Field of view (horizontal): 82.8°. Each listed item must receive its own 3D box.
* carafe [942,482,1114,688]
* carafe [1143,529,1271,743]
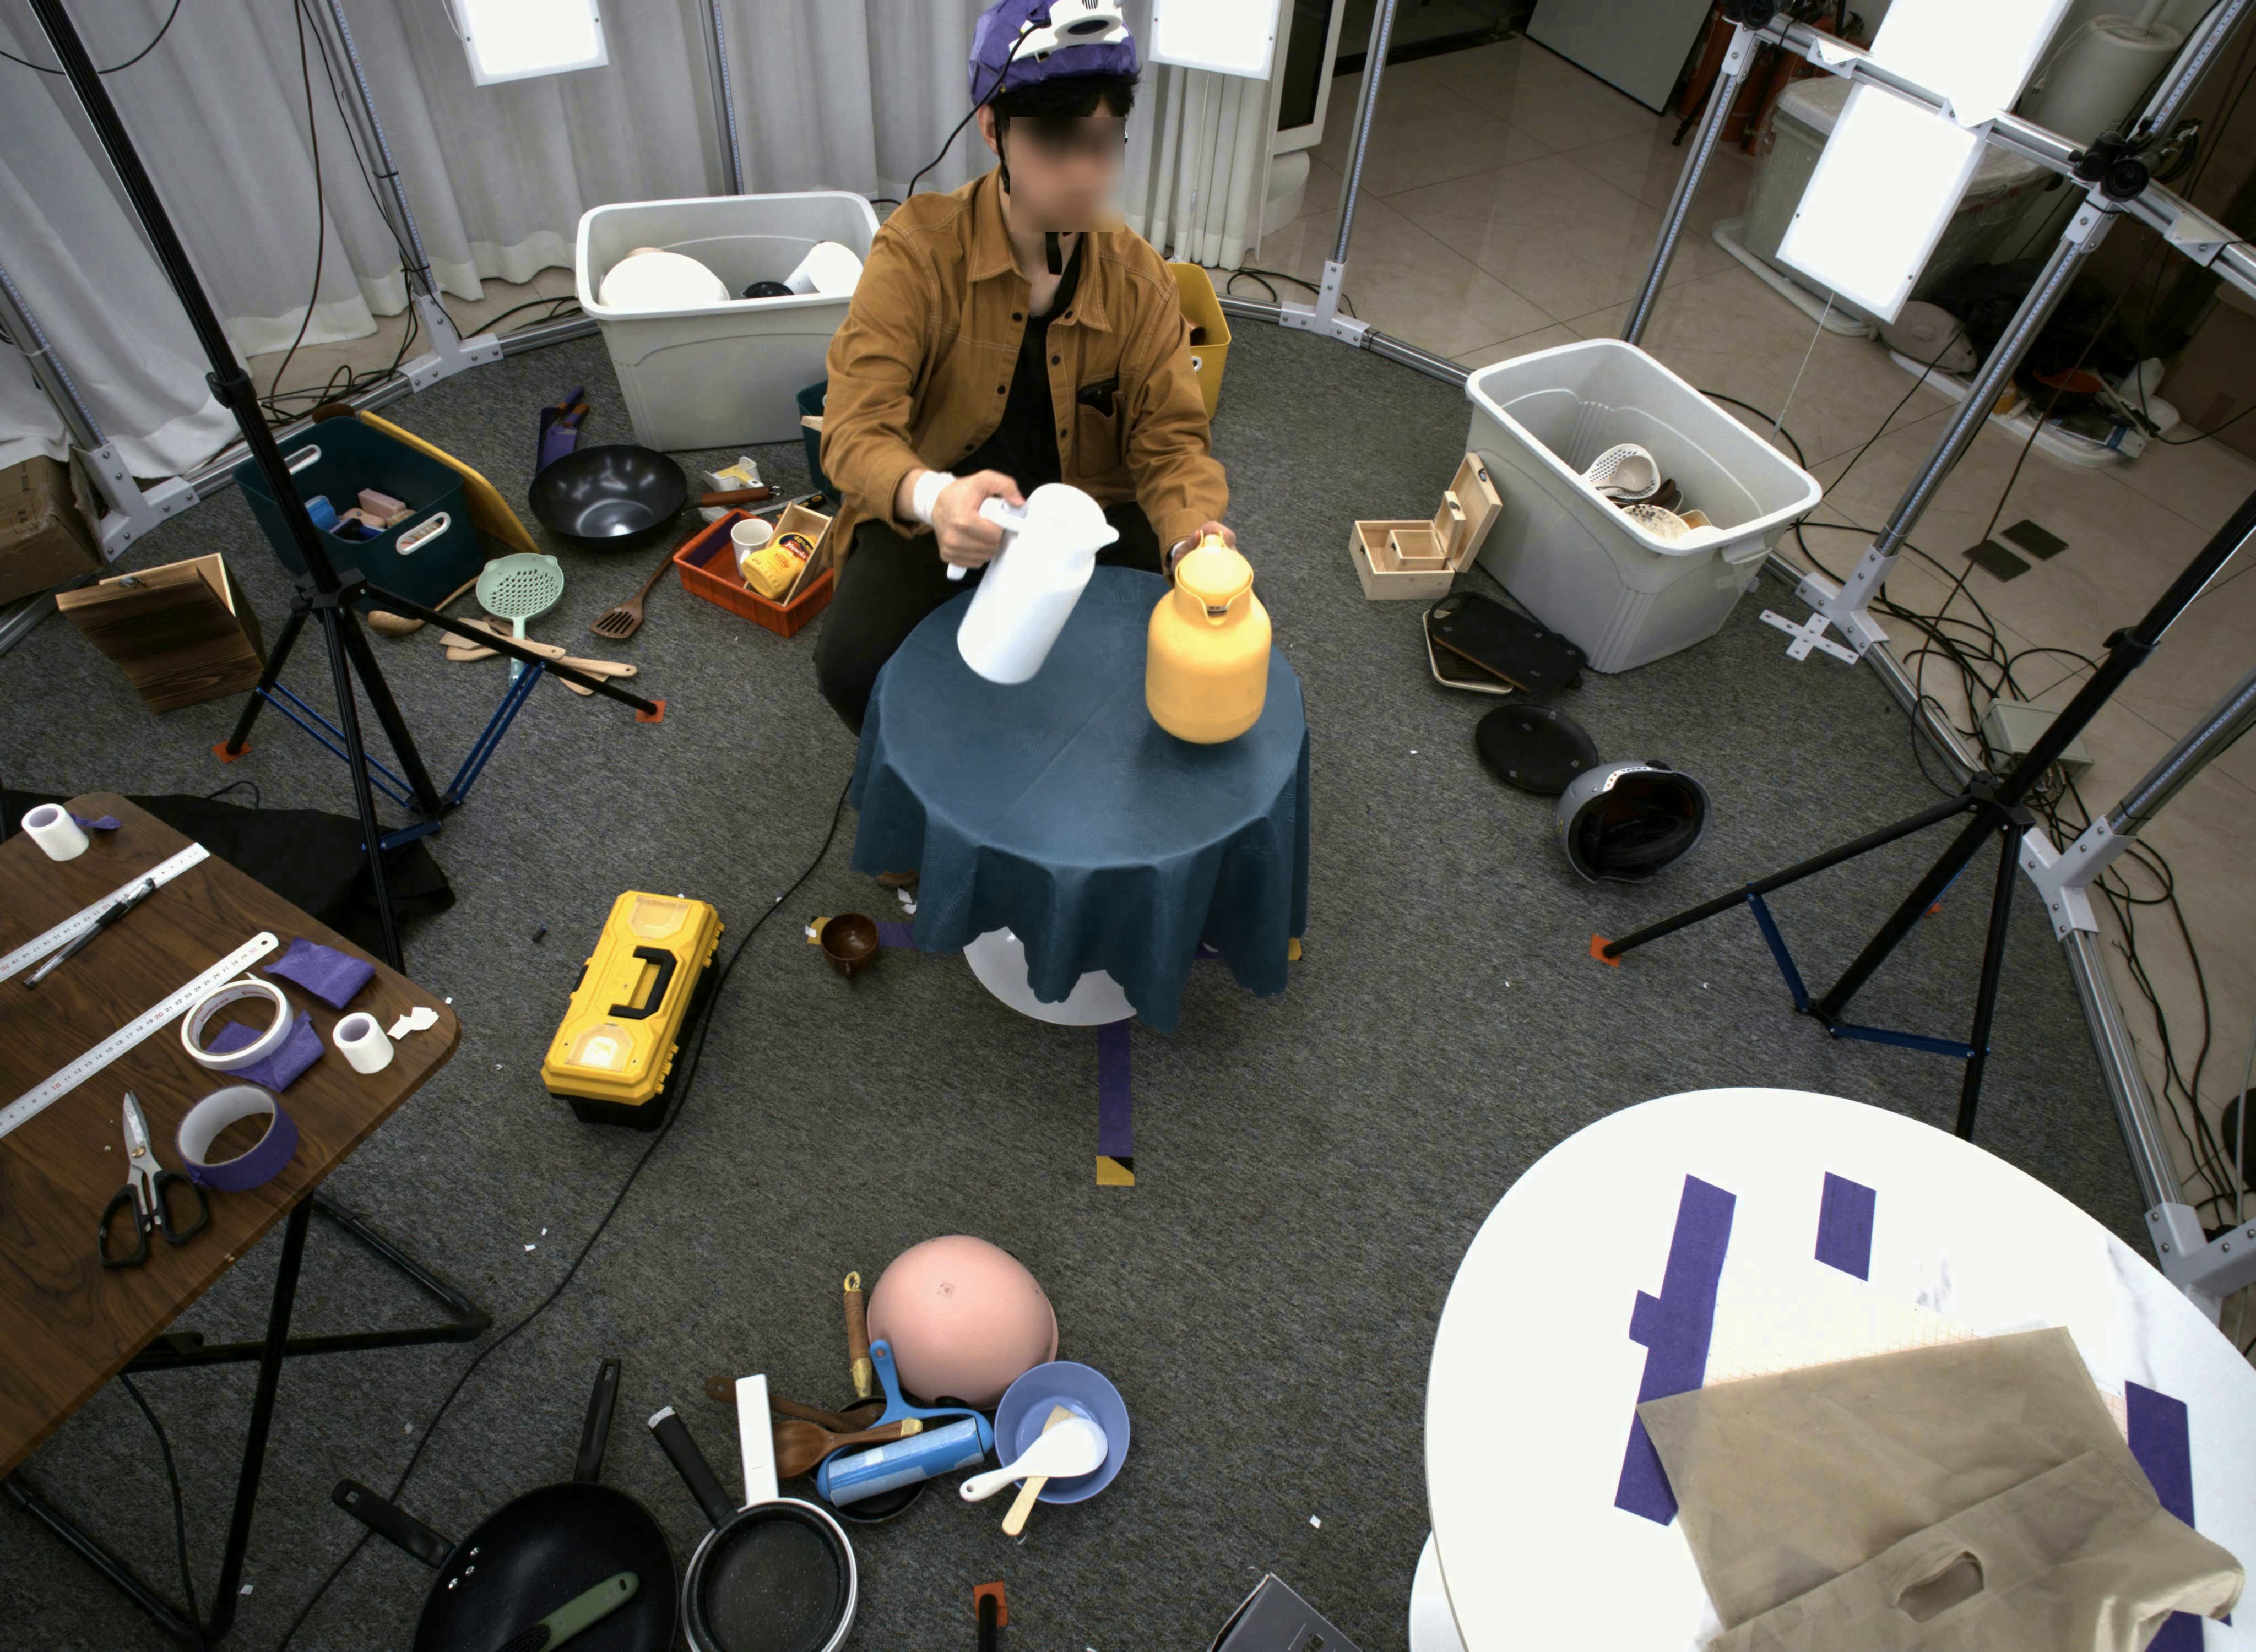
[{"bbox_3d":[-0.140,-0.293,1.583,0.172,0.264,0.126,12,57,-17],"label":"carafe"},{"bbox_3d":[0.106,-0.255,1.679,0.163,0.254,0.207,4,52,0],"label":"carafe"}]
